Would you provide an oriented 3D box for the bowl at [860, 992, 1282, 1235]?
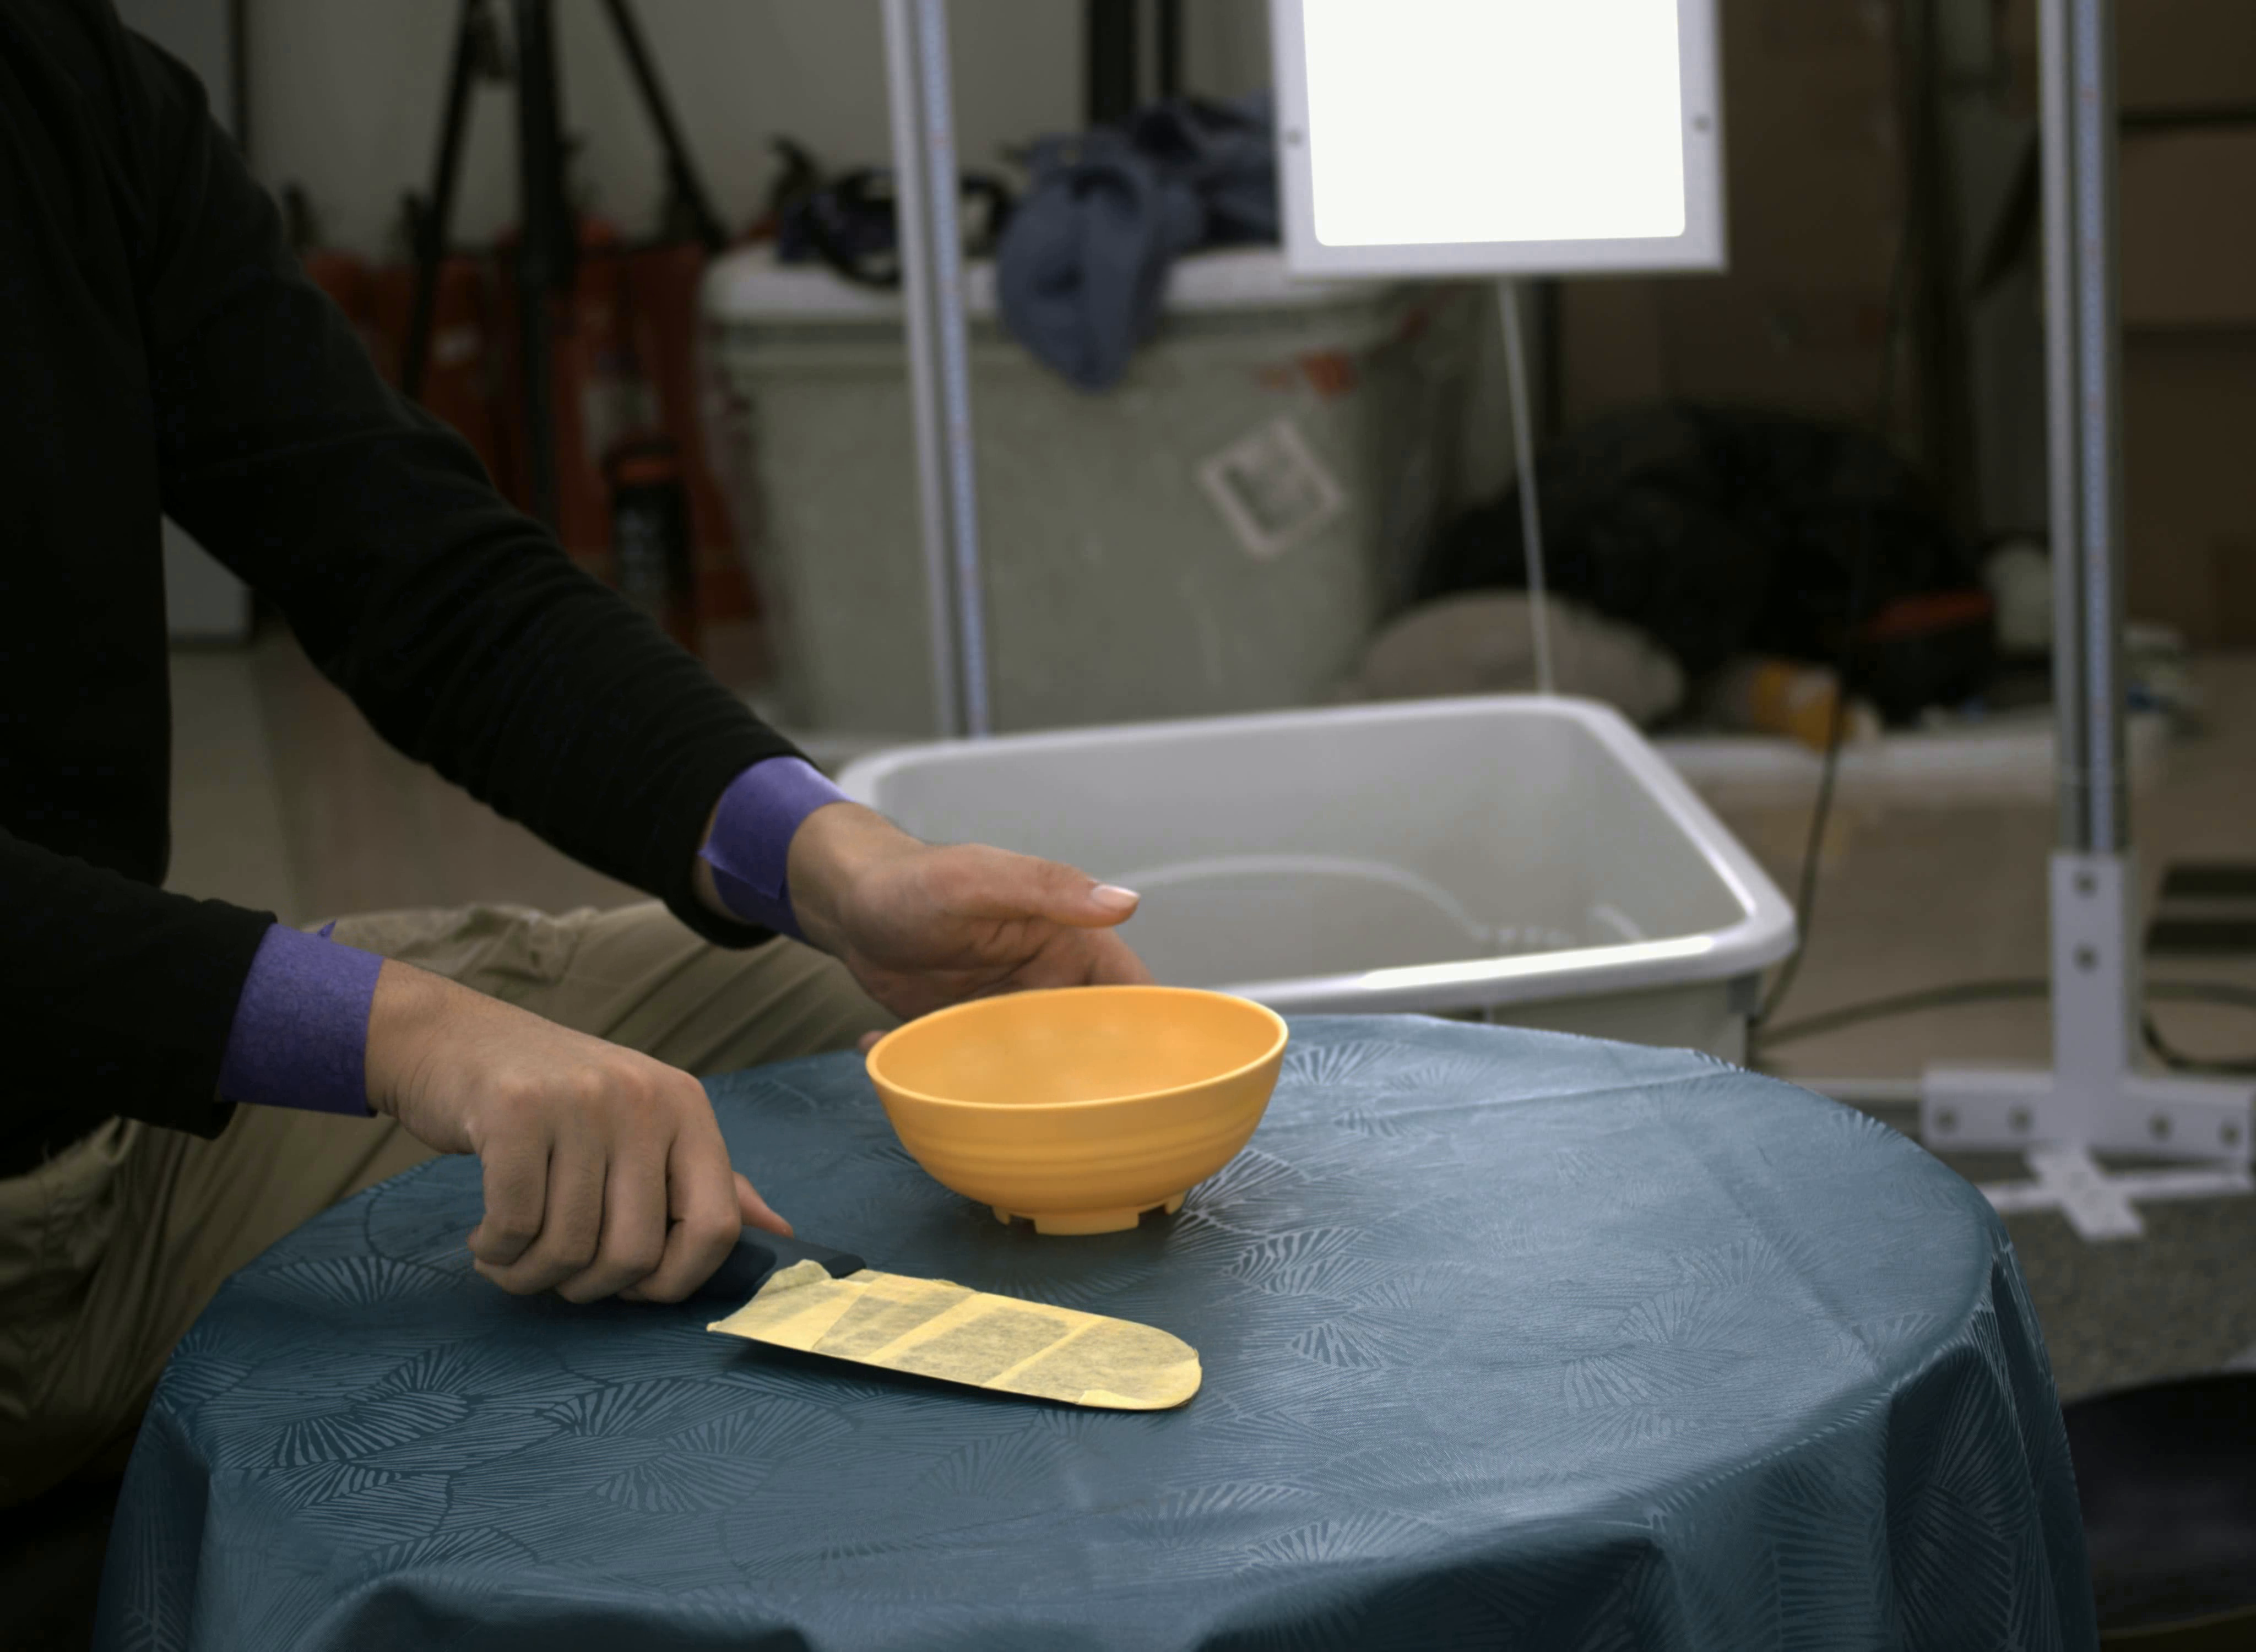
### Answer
[{"bbox_3d":[-0.018,0.102,1.882,0.145,0.060,0.145,-3,13,-1],"label":"bowl"}]

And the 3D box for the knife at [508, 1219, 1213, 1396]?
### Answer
[{"bbox_3d":[-0.094,0.157,1.779,0.295,0.027,0.079,7,14,36],"label":"knife"}]
